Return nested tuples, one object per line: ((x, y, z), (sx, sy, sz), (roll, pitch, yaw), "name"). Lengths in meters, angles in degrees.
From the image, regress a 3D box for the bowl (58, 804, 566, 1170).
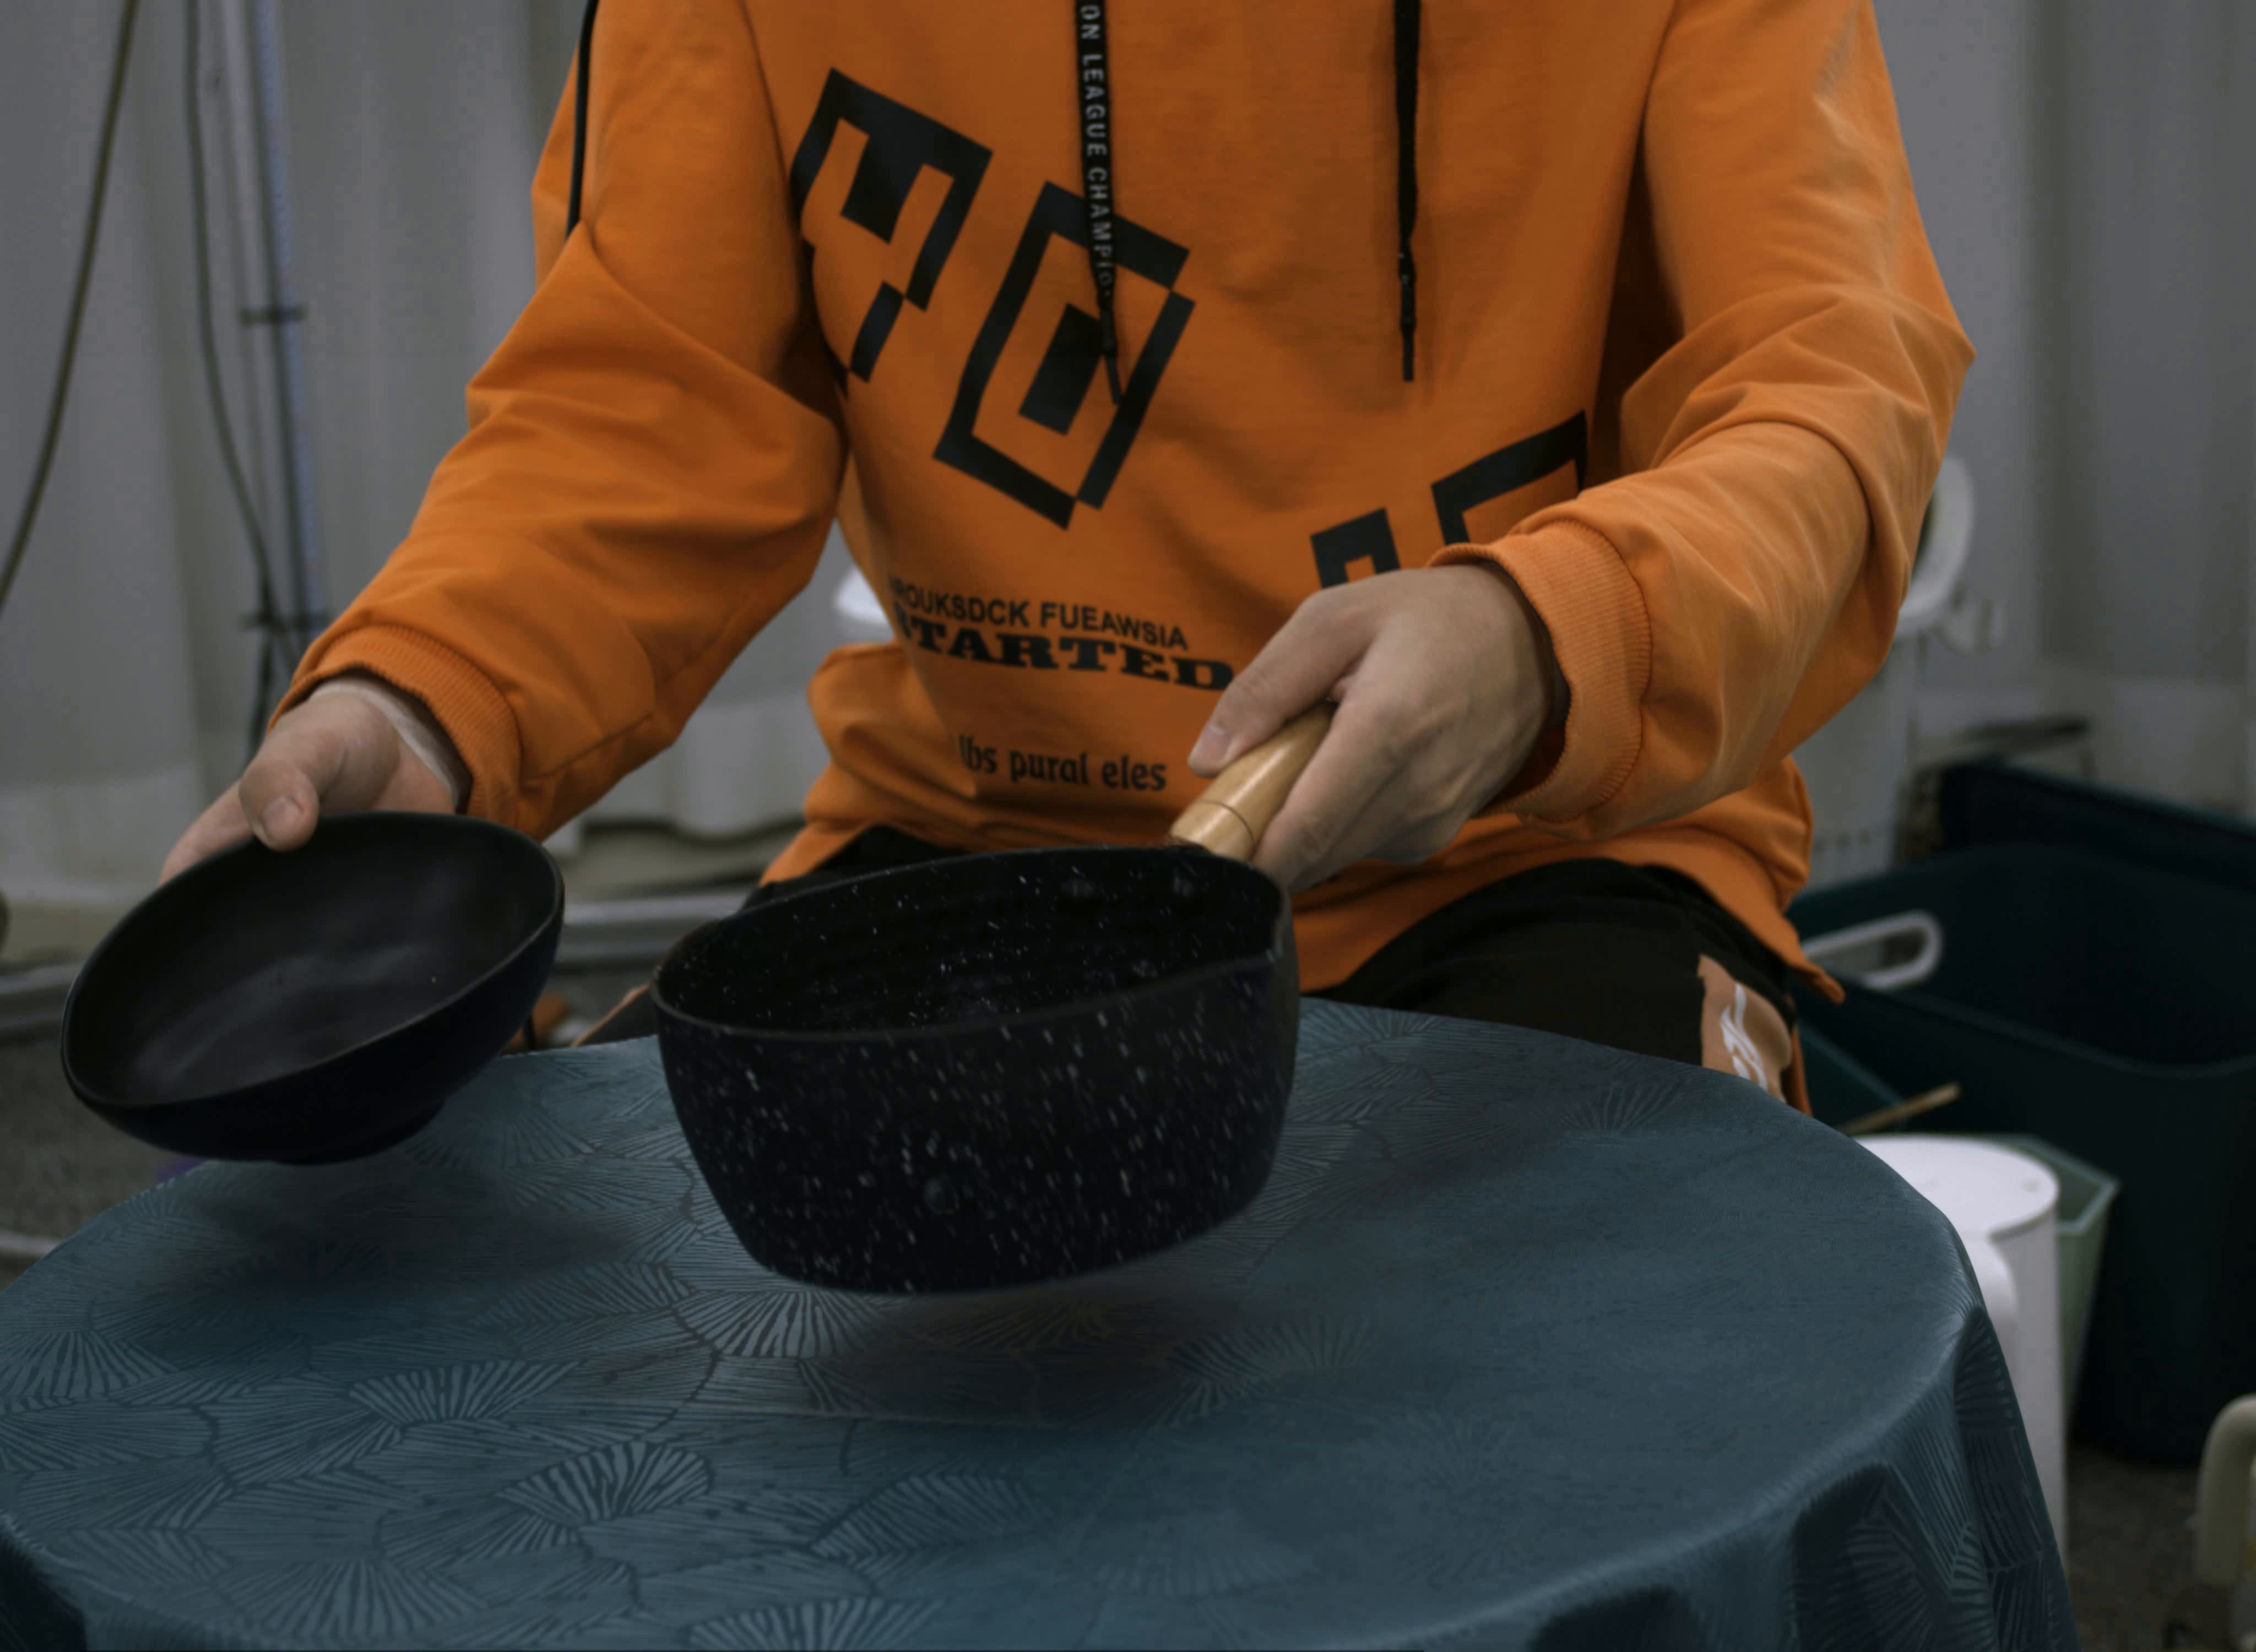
((-0.246, 0.062, 1.697), (0.170, 0.066, 0.138), (-33, 38, -31), "bowl")

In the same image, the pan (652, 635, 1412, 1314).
((-0.001, 0.040, 1.625), (0.208, 0.108, 0.343), (0, 18, 31), "pan")
